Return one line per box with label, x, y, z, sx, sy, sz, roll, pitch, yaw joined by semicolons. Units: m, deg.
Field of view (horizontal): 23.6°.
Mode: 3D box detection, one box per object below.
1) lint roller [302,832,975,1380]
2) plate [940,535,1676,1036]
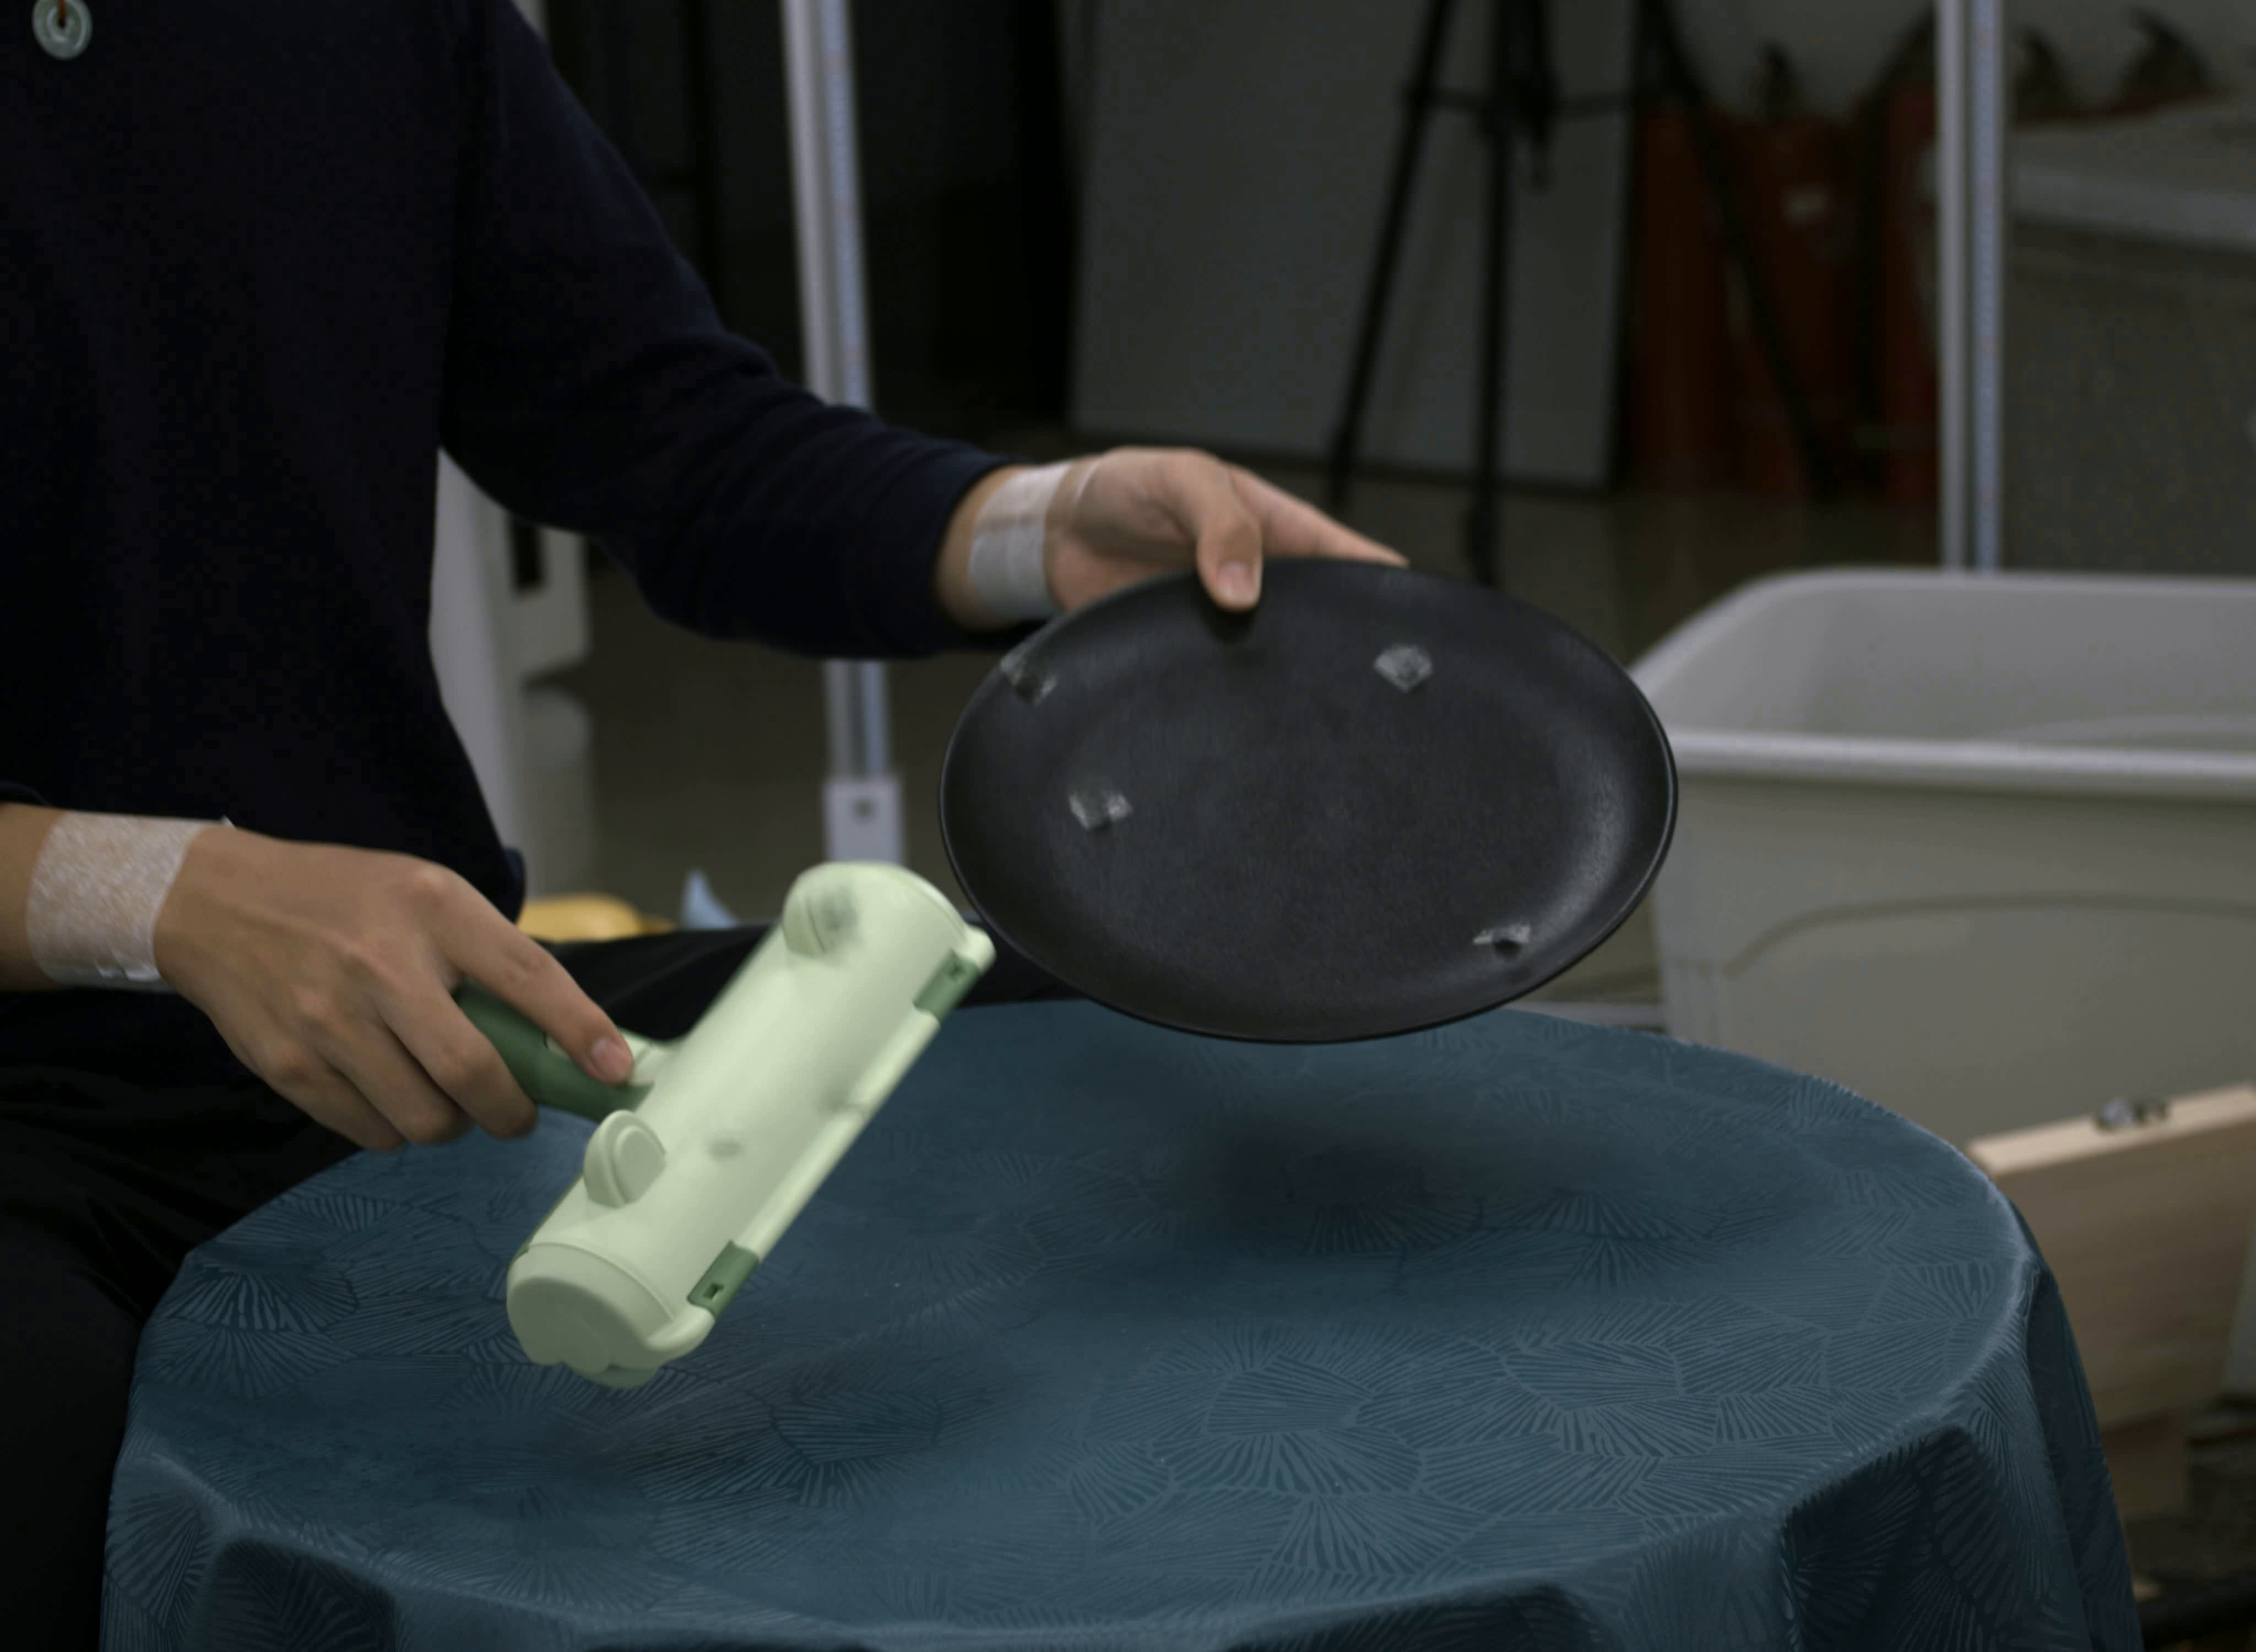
lint roller;-0.164;0.054;1.603;0.183;0.083;0.197;23;48;13
plate;0.059;-0.011;1.764;0.241;0.023;0.246;-3;42;2
